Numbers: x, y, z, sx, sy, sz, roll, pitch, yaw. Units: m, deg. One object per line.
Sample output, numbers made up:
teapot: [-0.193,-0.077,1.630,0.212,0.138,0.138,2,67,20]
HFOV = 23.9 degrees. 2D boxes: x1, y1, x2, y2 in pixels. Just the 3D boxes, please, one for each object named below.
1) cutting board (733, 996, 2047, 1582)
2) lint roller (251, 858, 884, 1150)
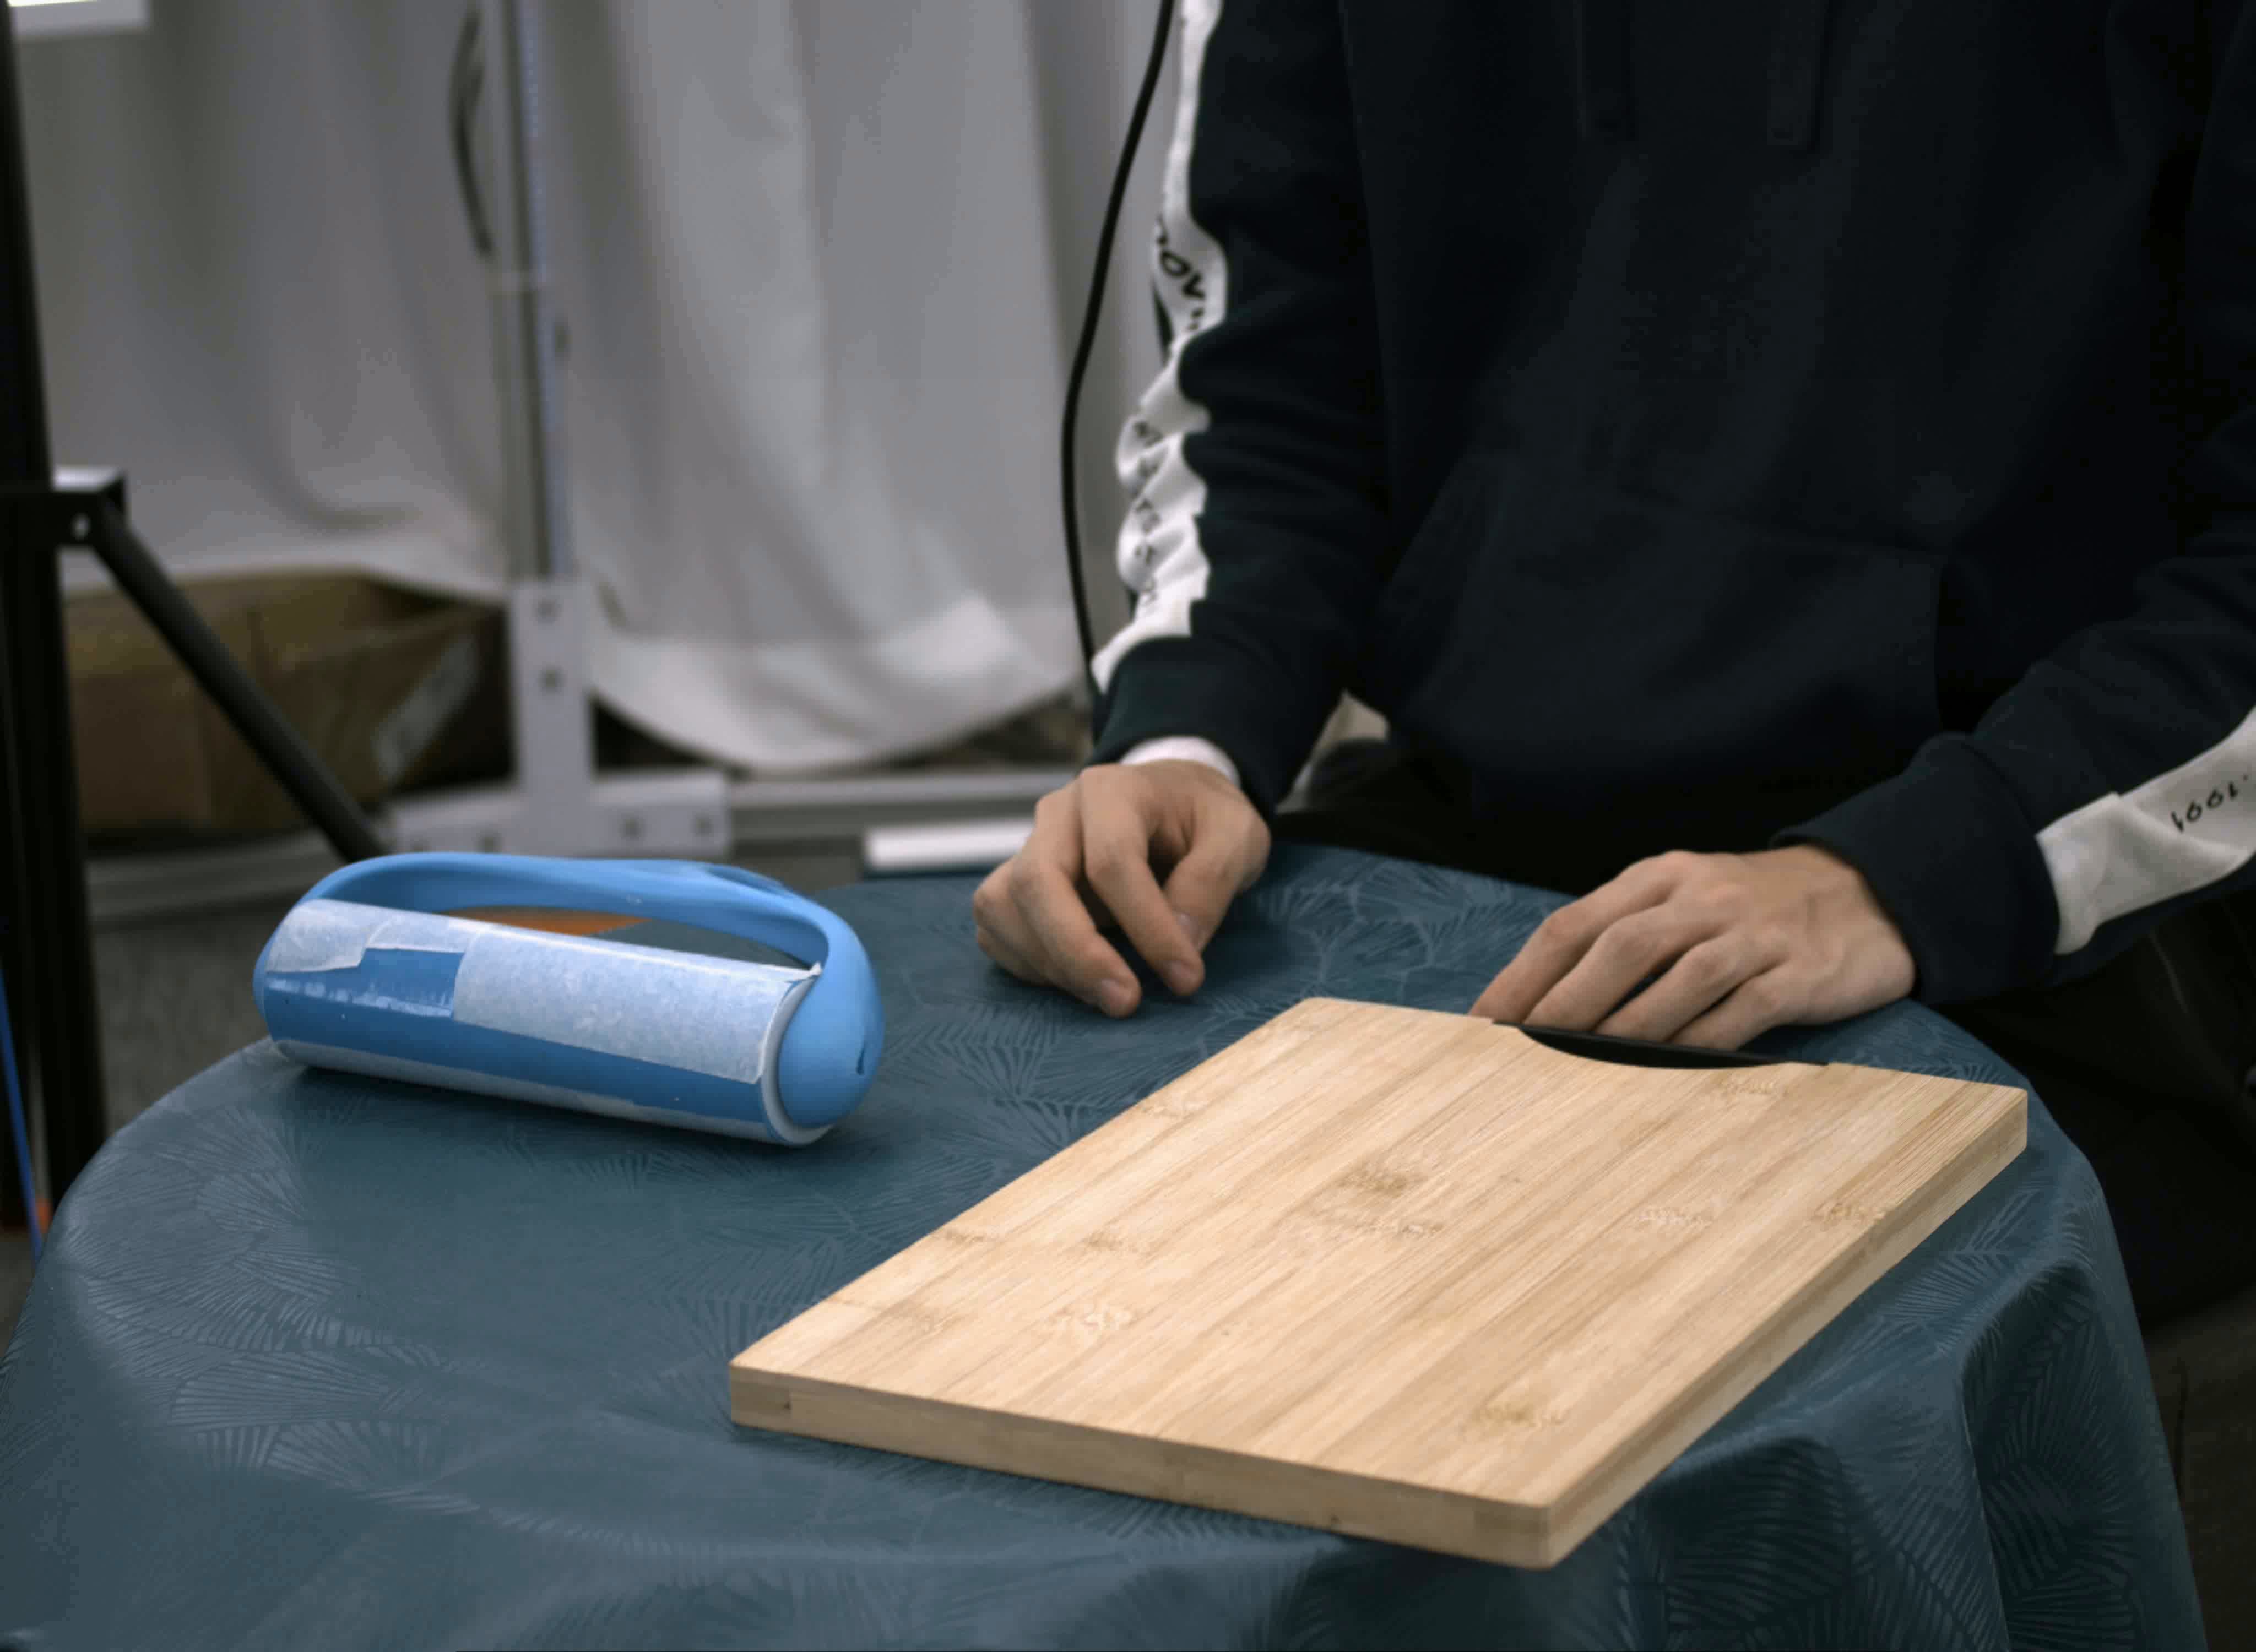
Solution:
cutting board: [0.082,0.119,1.478,0.255,0.023,0.342,6,18,29]
lint roller: [-0.150,0.044,1.705,0.233,0.068,0.177,5,18,29]
